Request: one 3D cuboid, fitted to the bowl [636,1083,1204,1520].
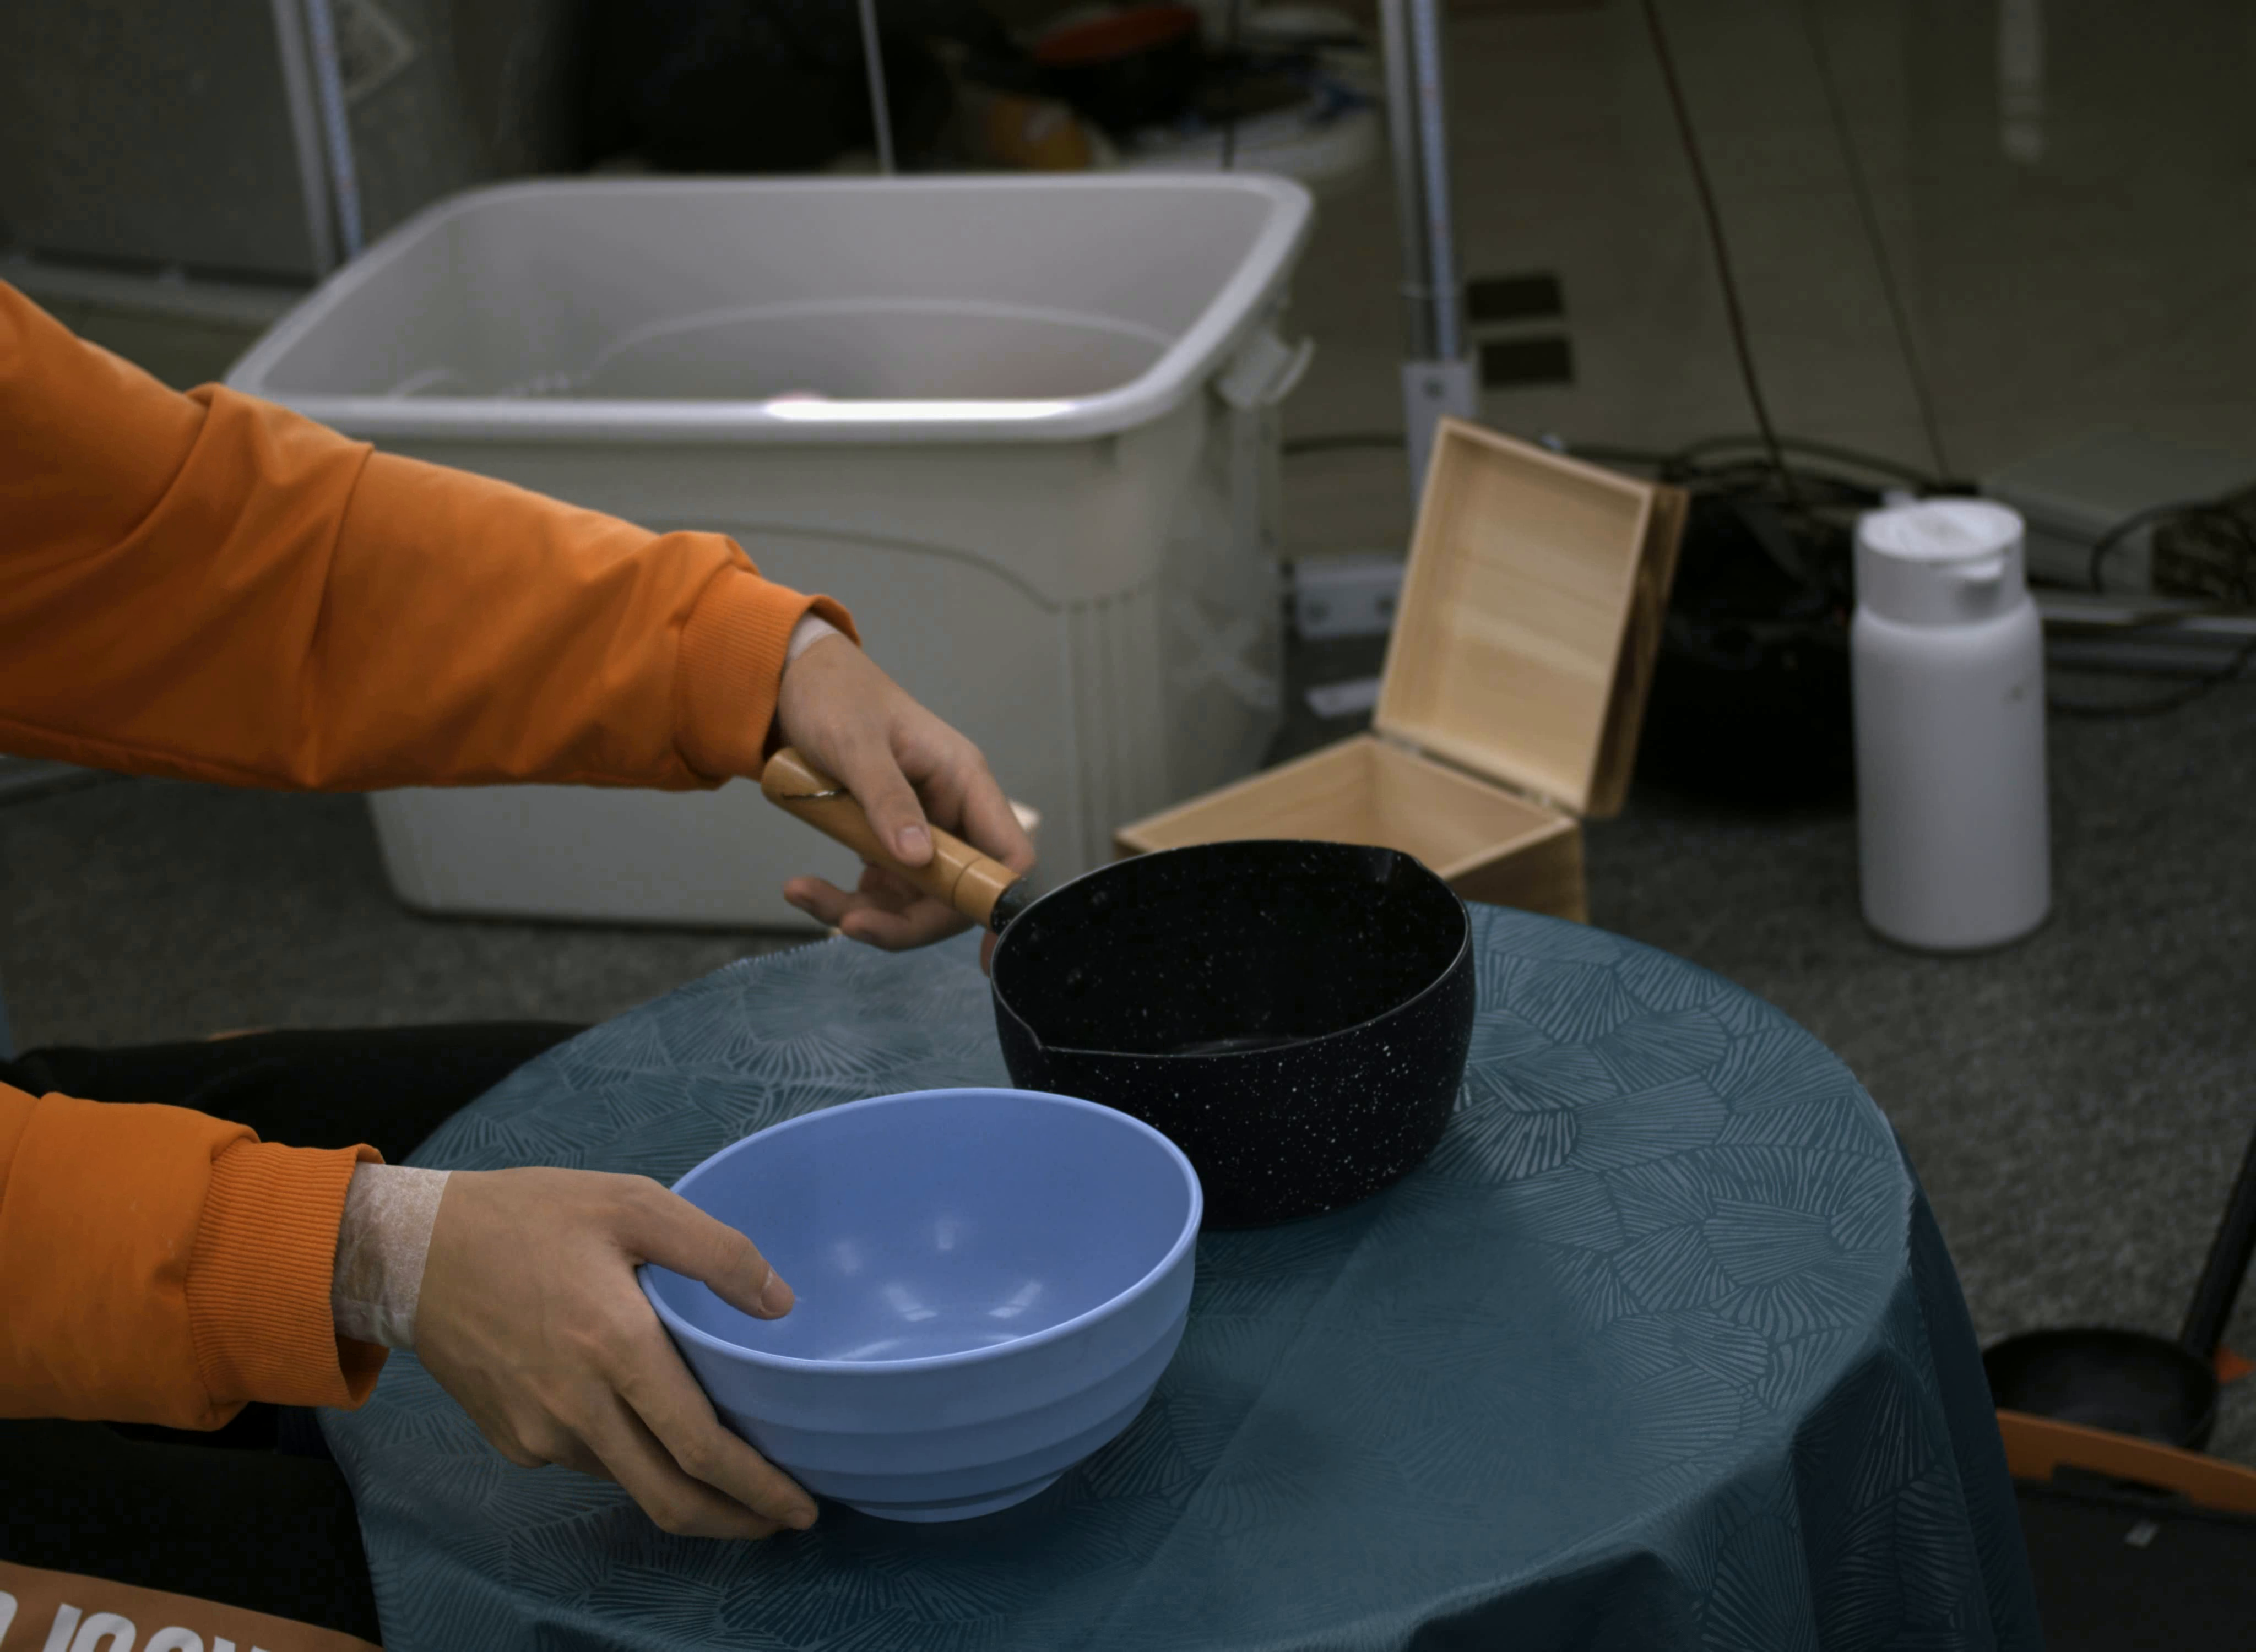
[{"bbox_3d":[-0.067,0.176,1.967,0.196,0.097,0.193,-5,26,2],"label":"bowl"}]

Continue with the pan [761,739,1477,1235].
[{"bbox_3d":[-0.017,0.054,2.203,0.340,0.110,0.205,18,36,39],"label":"pan"}]
